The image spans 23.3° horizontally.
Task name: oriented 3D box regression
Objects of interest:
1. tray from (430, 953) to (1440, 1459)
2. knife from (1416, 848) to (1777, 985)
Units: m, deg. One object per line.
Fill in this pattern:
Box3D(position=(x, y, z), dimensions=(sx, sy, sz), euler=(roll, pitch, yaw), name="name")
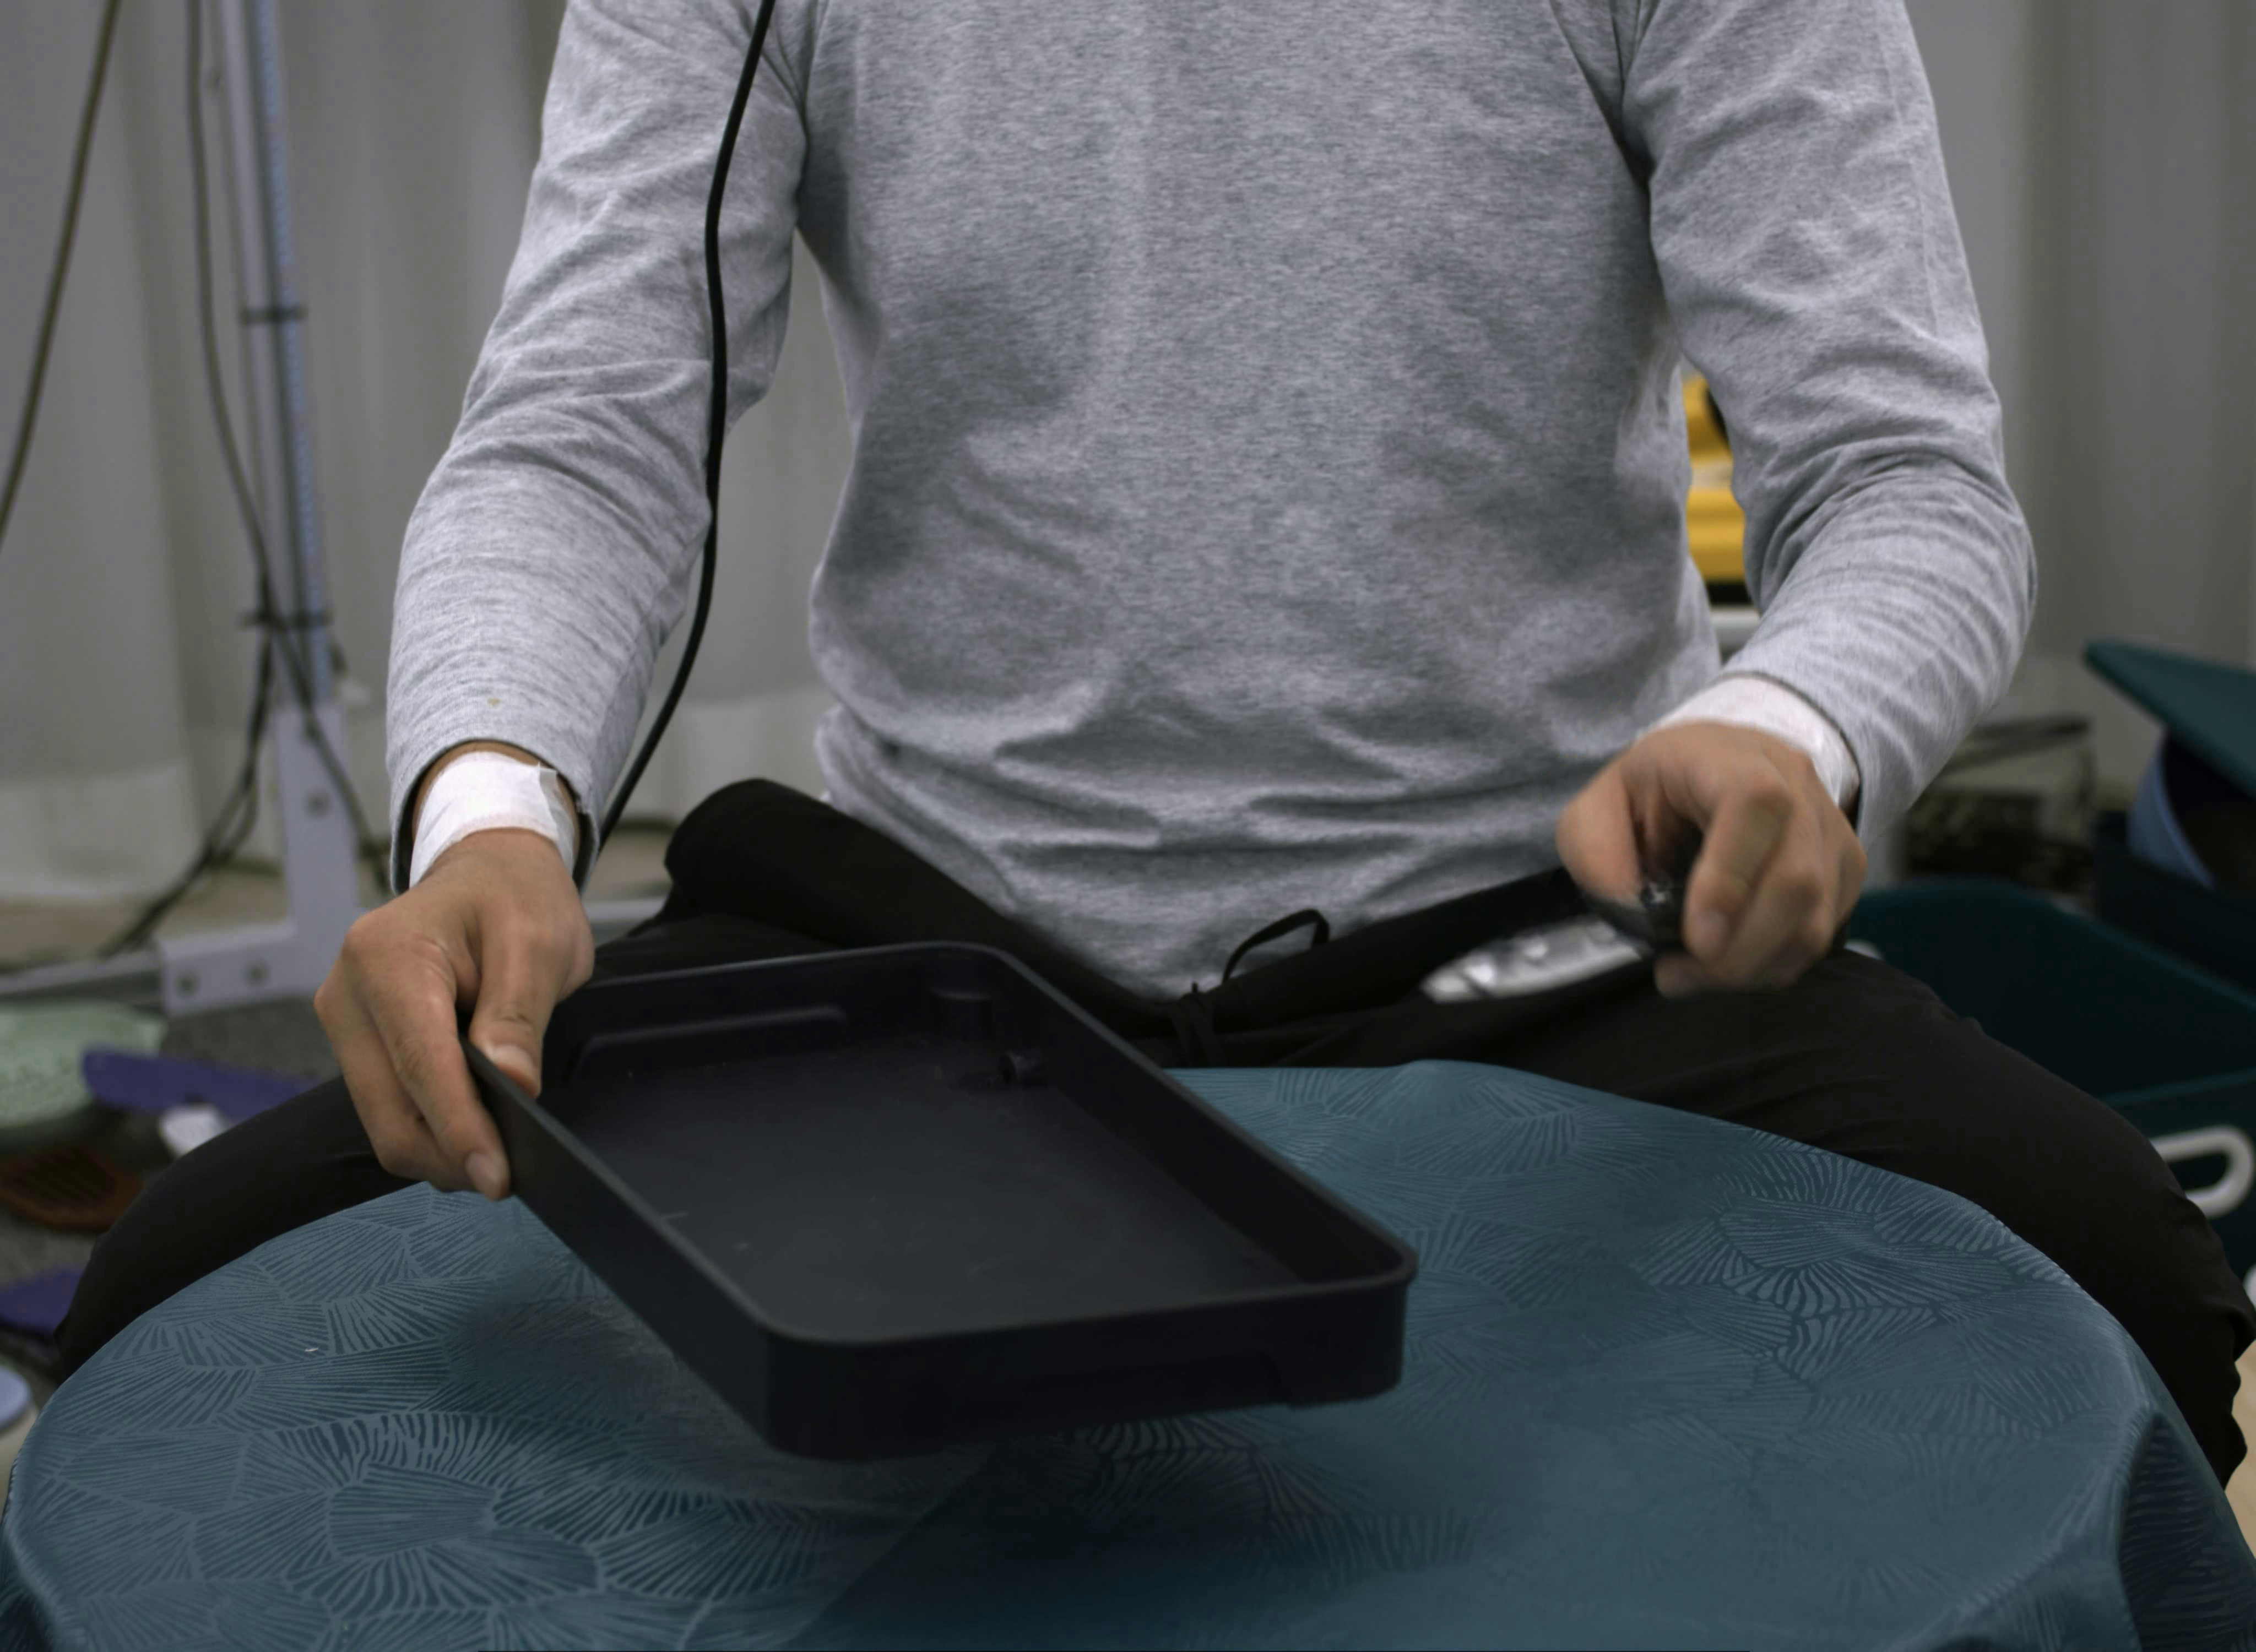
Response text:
Box3D(position=(-0.062, 0.099, 1.516), dimensions=(0.183, 0.037, 0.320), euler=(-5, 15, -25), name="tray")
Box3D(position=(0.129, 0.026, 1.517), dimensions=(0.024, 0.016, 0.237), euler=(17, 14, 25), name="knife")
